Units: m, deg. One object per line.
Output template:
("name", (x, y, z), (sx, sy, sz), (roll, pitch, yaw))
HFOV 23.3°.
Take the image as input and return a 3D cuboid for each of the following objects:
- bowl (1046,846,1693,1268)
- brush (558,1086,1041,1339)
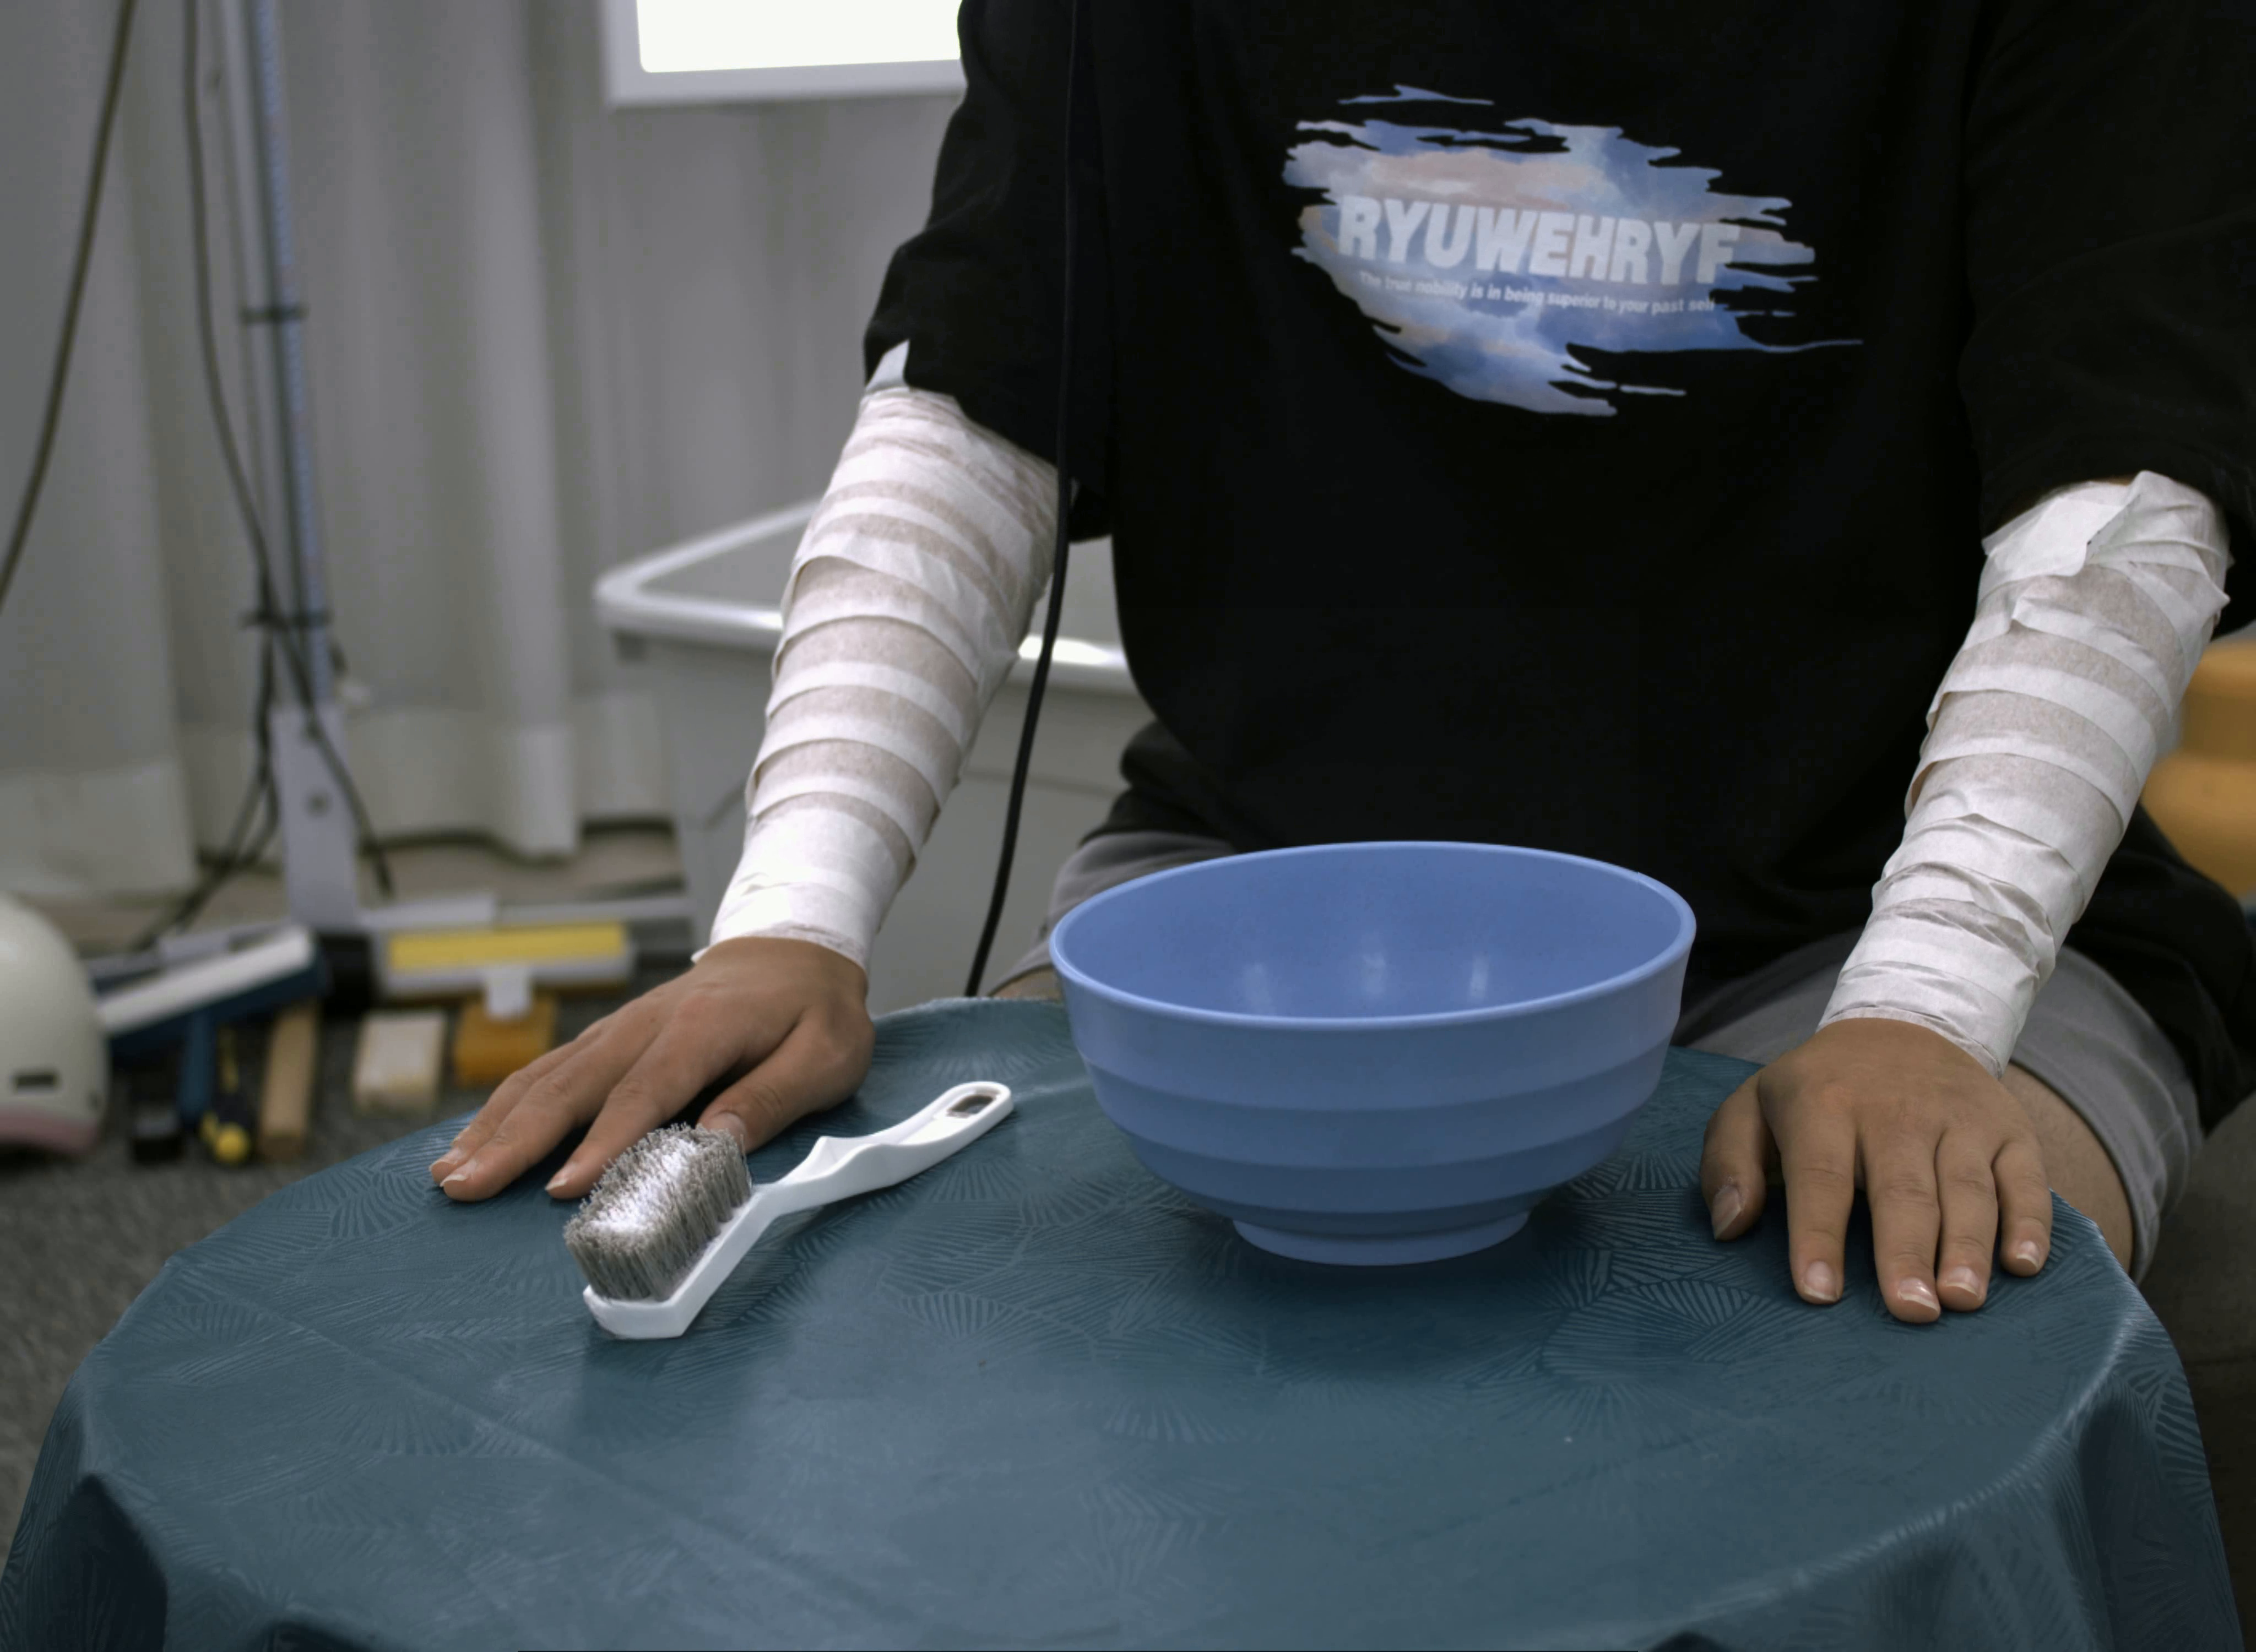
("bowl", (0.075, 0.075, 1.665), (0.196, 0.095, 0.198), (-4, 14, 1))
("brush", (-0.096, 0.100, 1.691), (0.034, 0.050, 0.244), (2, 15, 30))
